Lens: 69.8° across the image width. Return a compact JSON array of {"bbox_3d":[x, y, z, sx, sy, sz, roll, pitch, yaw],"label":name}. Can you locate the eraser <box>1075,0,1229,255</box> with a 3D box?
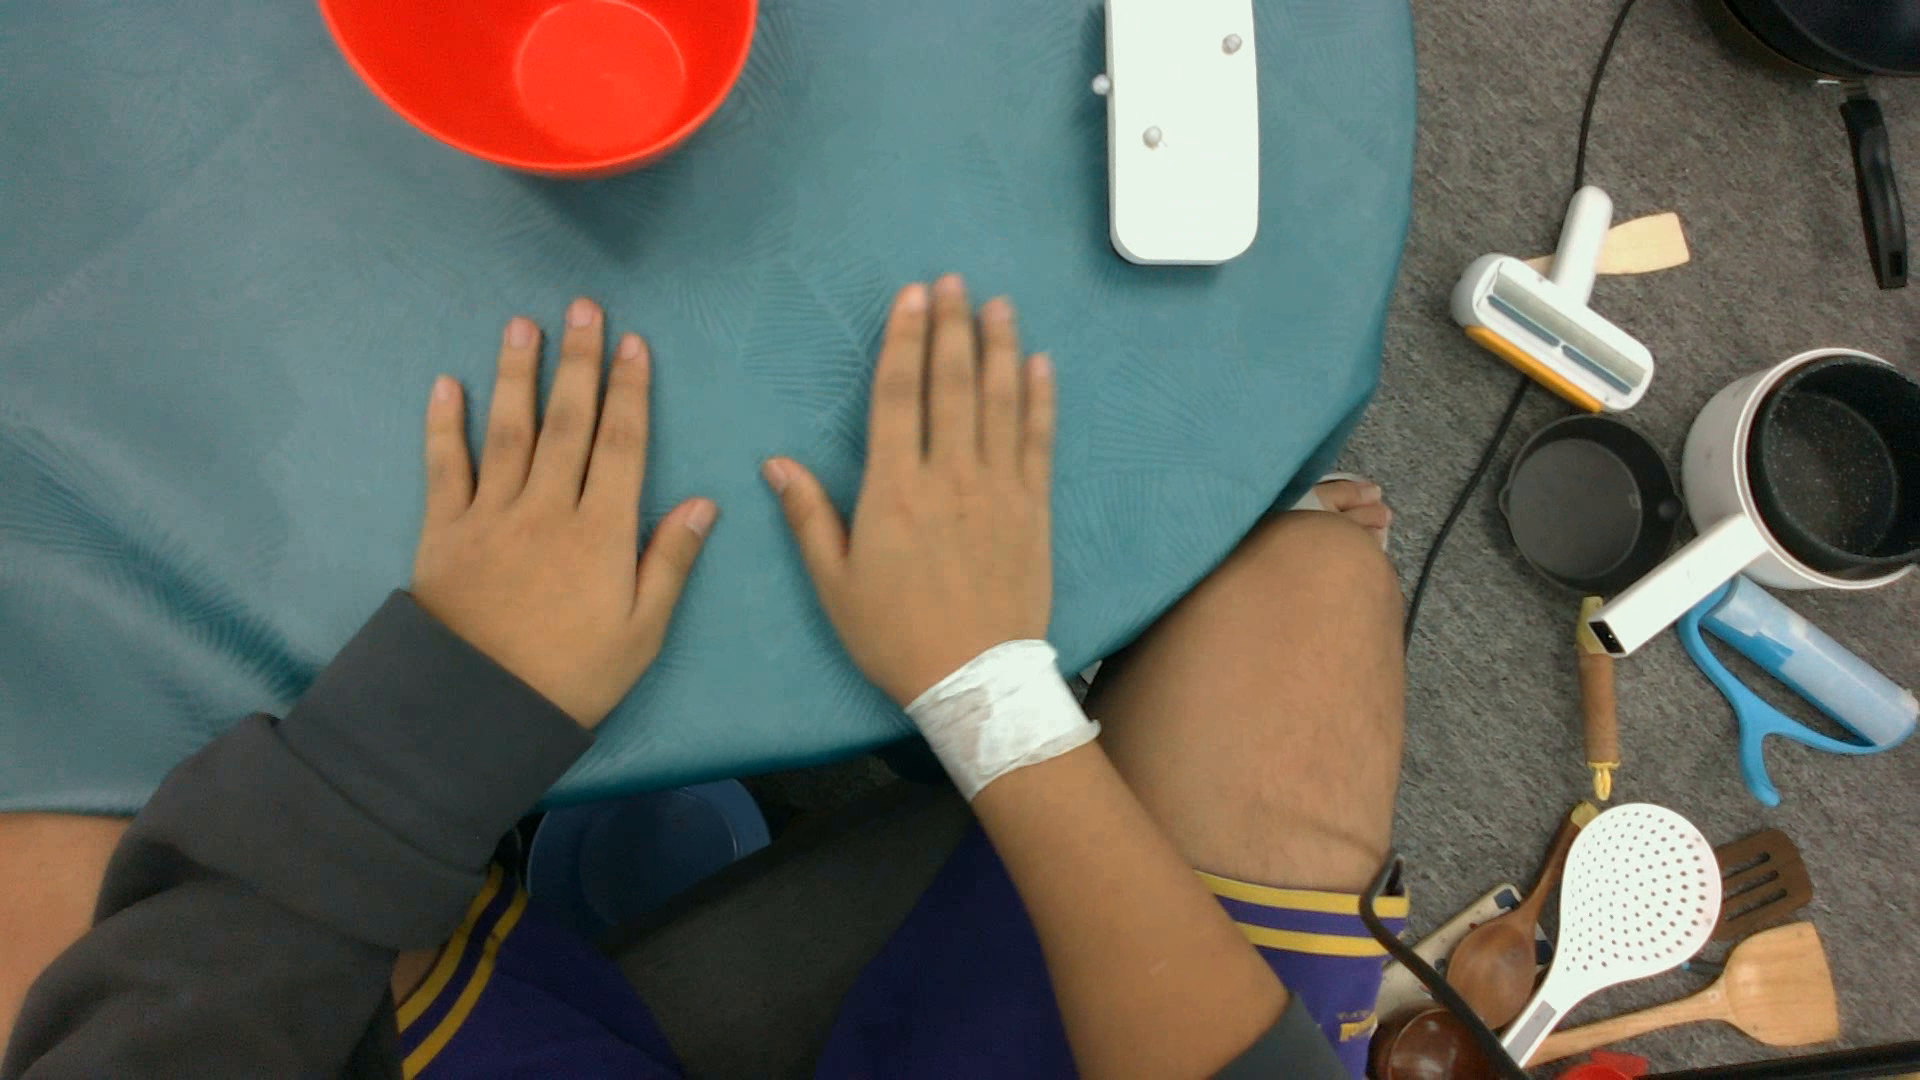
[{"bbox_3d":[0.080,-0.188,0.592,0.063,0.034,0.131,0,82,-7],"label":"eraser"}]

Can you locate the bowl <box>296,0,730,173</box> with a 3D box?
[{"bbox_3d":[-0.161,-0.201,0.521,0.148,0.104,0.148,1,84,-10],"label":"bowl"}]
